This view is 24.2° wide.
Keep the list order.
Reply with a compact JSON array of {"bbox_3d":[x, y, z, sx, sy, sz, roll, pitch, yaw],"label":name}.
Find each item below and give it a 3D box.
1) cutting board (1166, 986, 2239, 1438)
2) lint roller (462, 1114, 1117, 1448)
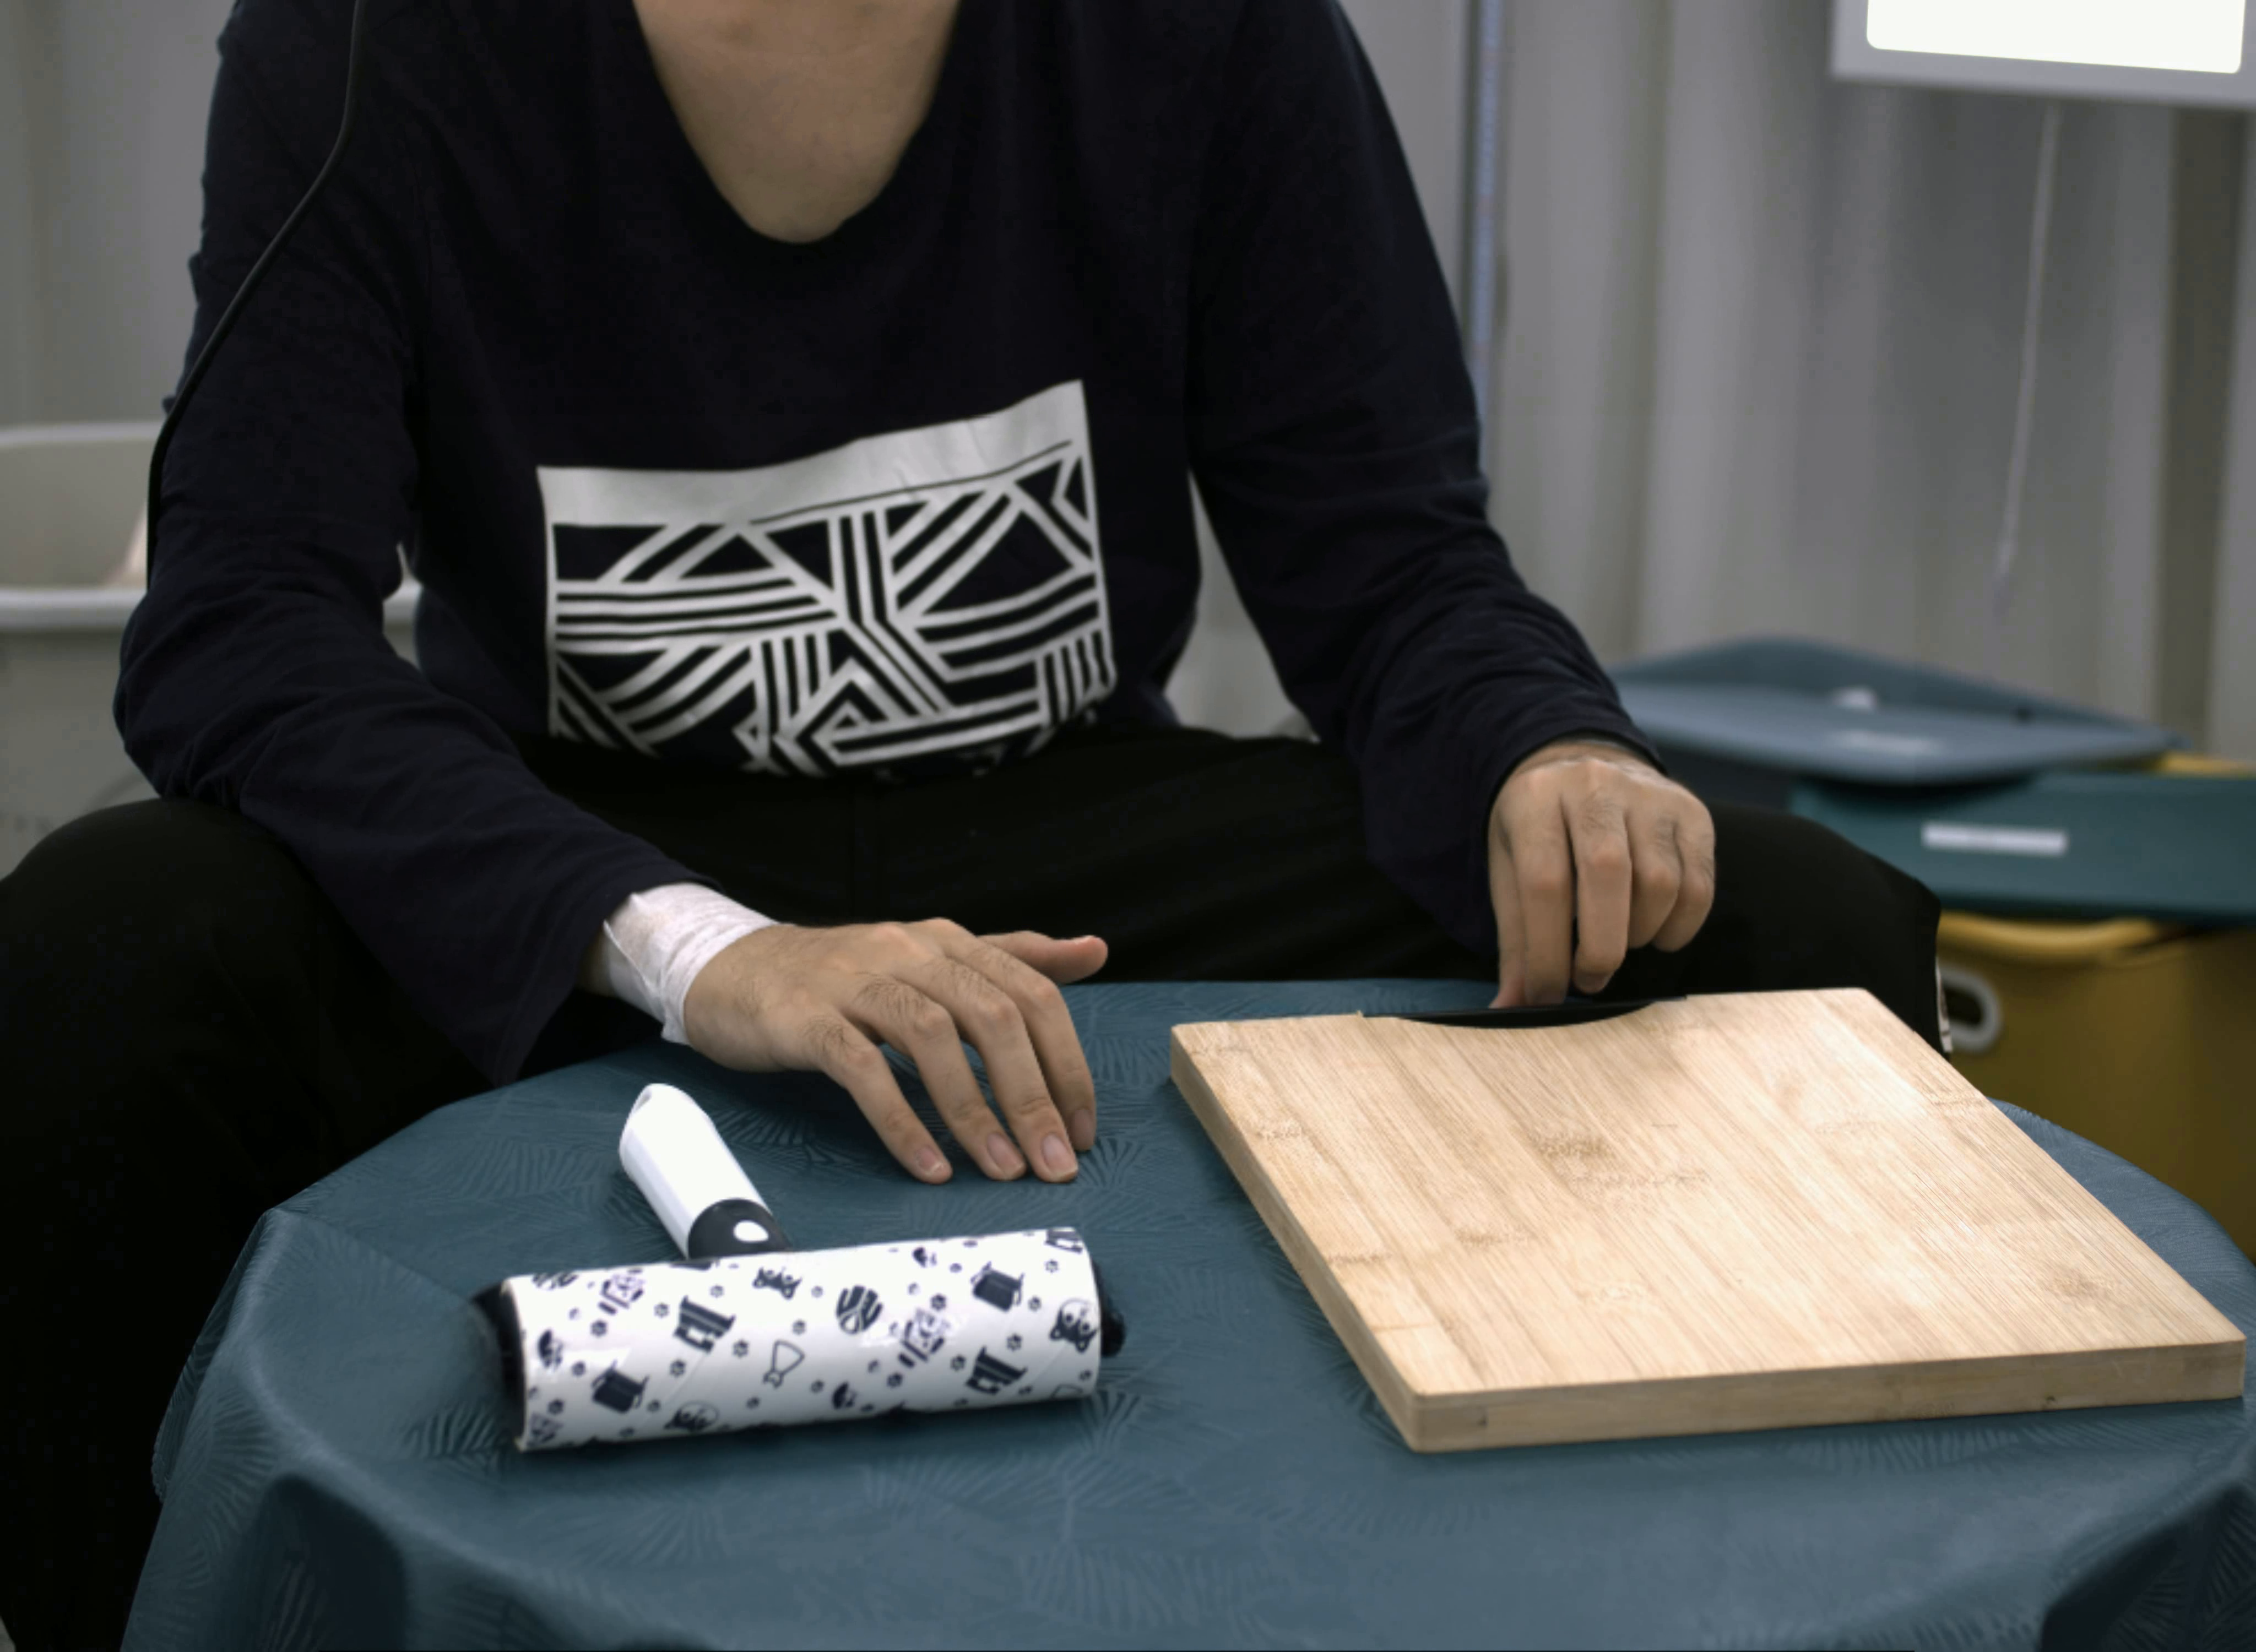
[{"bbox_3d":[0.161,0.112,1.604,0.251,0.024,0.345,-2,15,-12],"label":"cutting board"},{"bbox_3d":[-0.119,0.117,1.528,0.176,0.051,0.244,-5,14,-16],"label":"lint roller"}]
